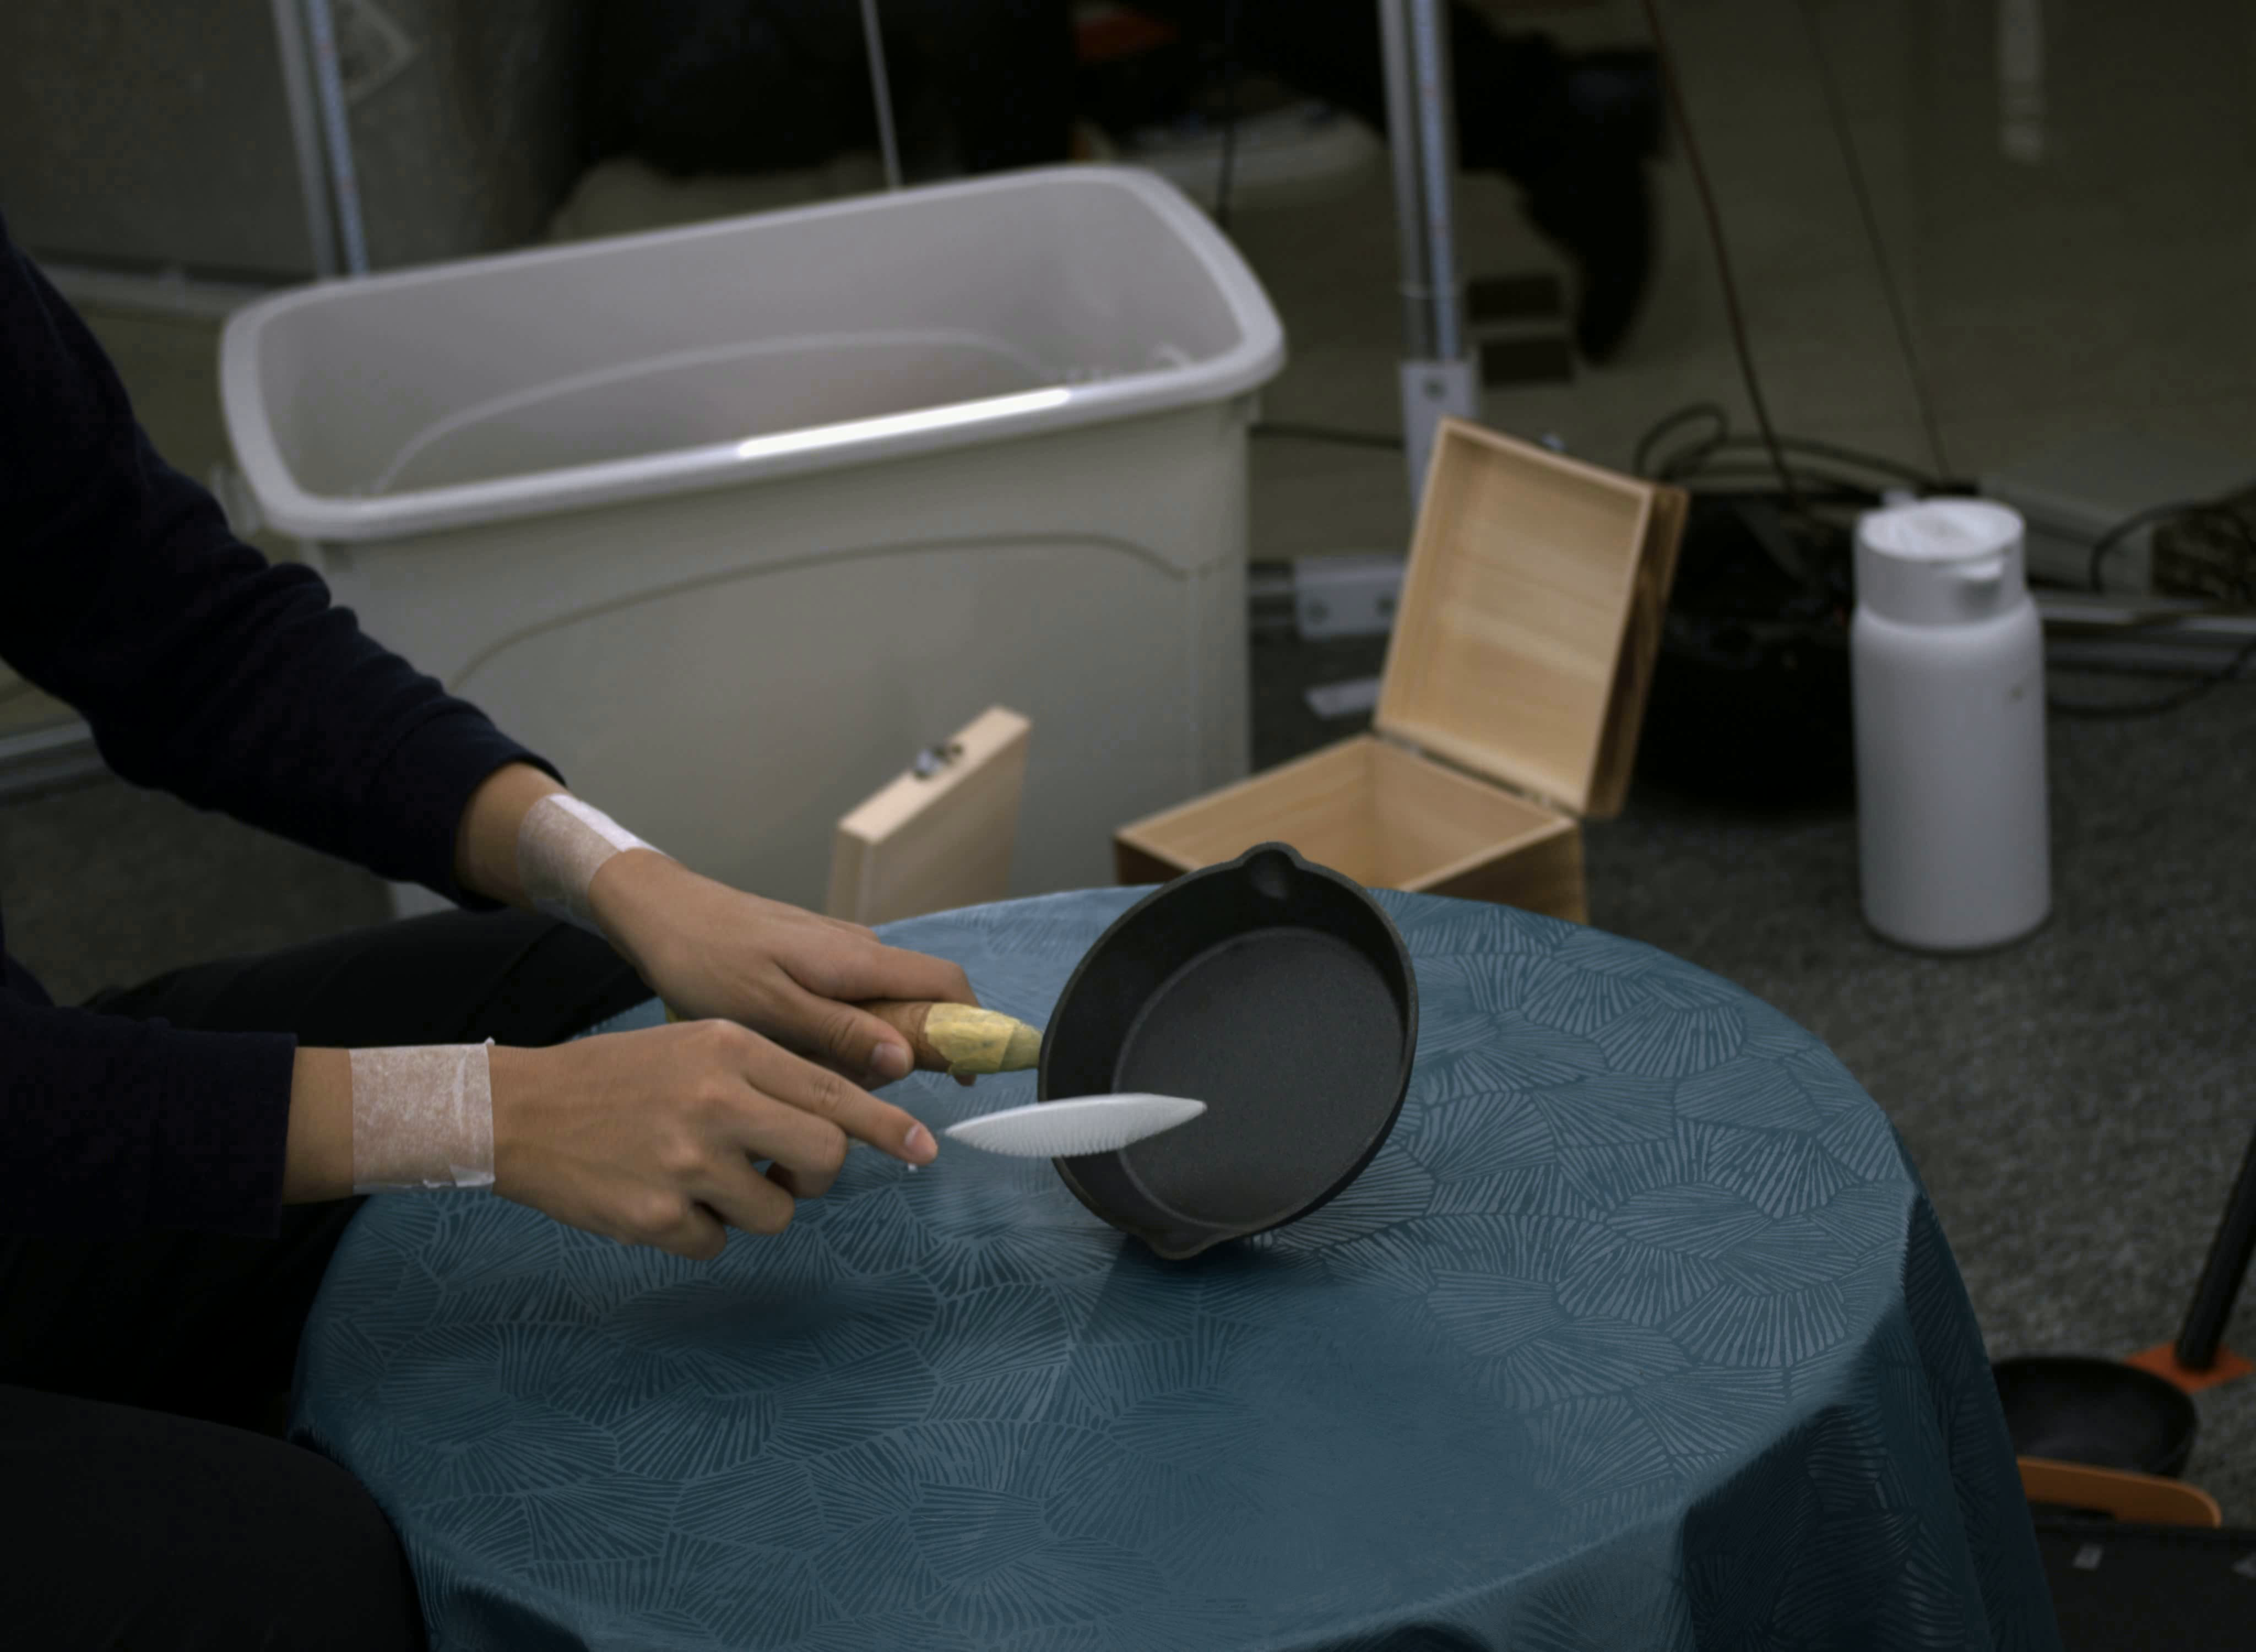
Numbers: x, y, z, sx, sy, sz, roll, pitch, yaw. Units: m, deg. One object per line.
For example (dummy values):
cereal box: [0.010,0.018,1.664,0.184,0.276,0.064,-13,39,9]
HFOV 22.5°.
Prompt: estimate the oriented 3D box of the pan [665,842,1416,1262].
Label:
pan: [-0.033,0.081,2.156,0.323,0.050,0.167,4,68,30]

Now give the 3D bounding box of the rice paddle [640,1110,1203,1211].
rice paddle: [-0.075,0.114,2.067,0.205,0.029,0.069,-7,-5,0]
